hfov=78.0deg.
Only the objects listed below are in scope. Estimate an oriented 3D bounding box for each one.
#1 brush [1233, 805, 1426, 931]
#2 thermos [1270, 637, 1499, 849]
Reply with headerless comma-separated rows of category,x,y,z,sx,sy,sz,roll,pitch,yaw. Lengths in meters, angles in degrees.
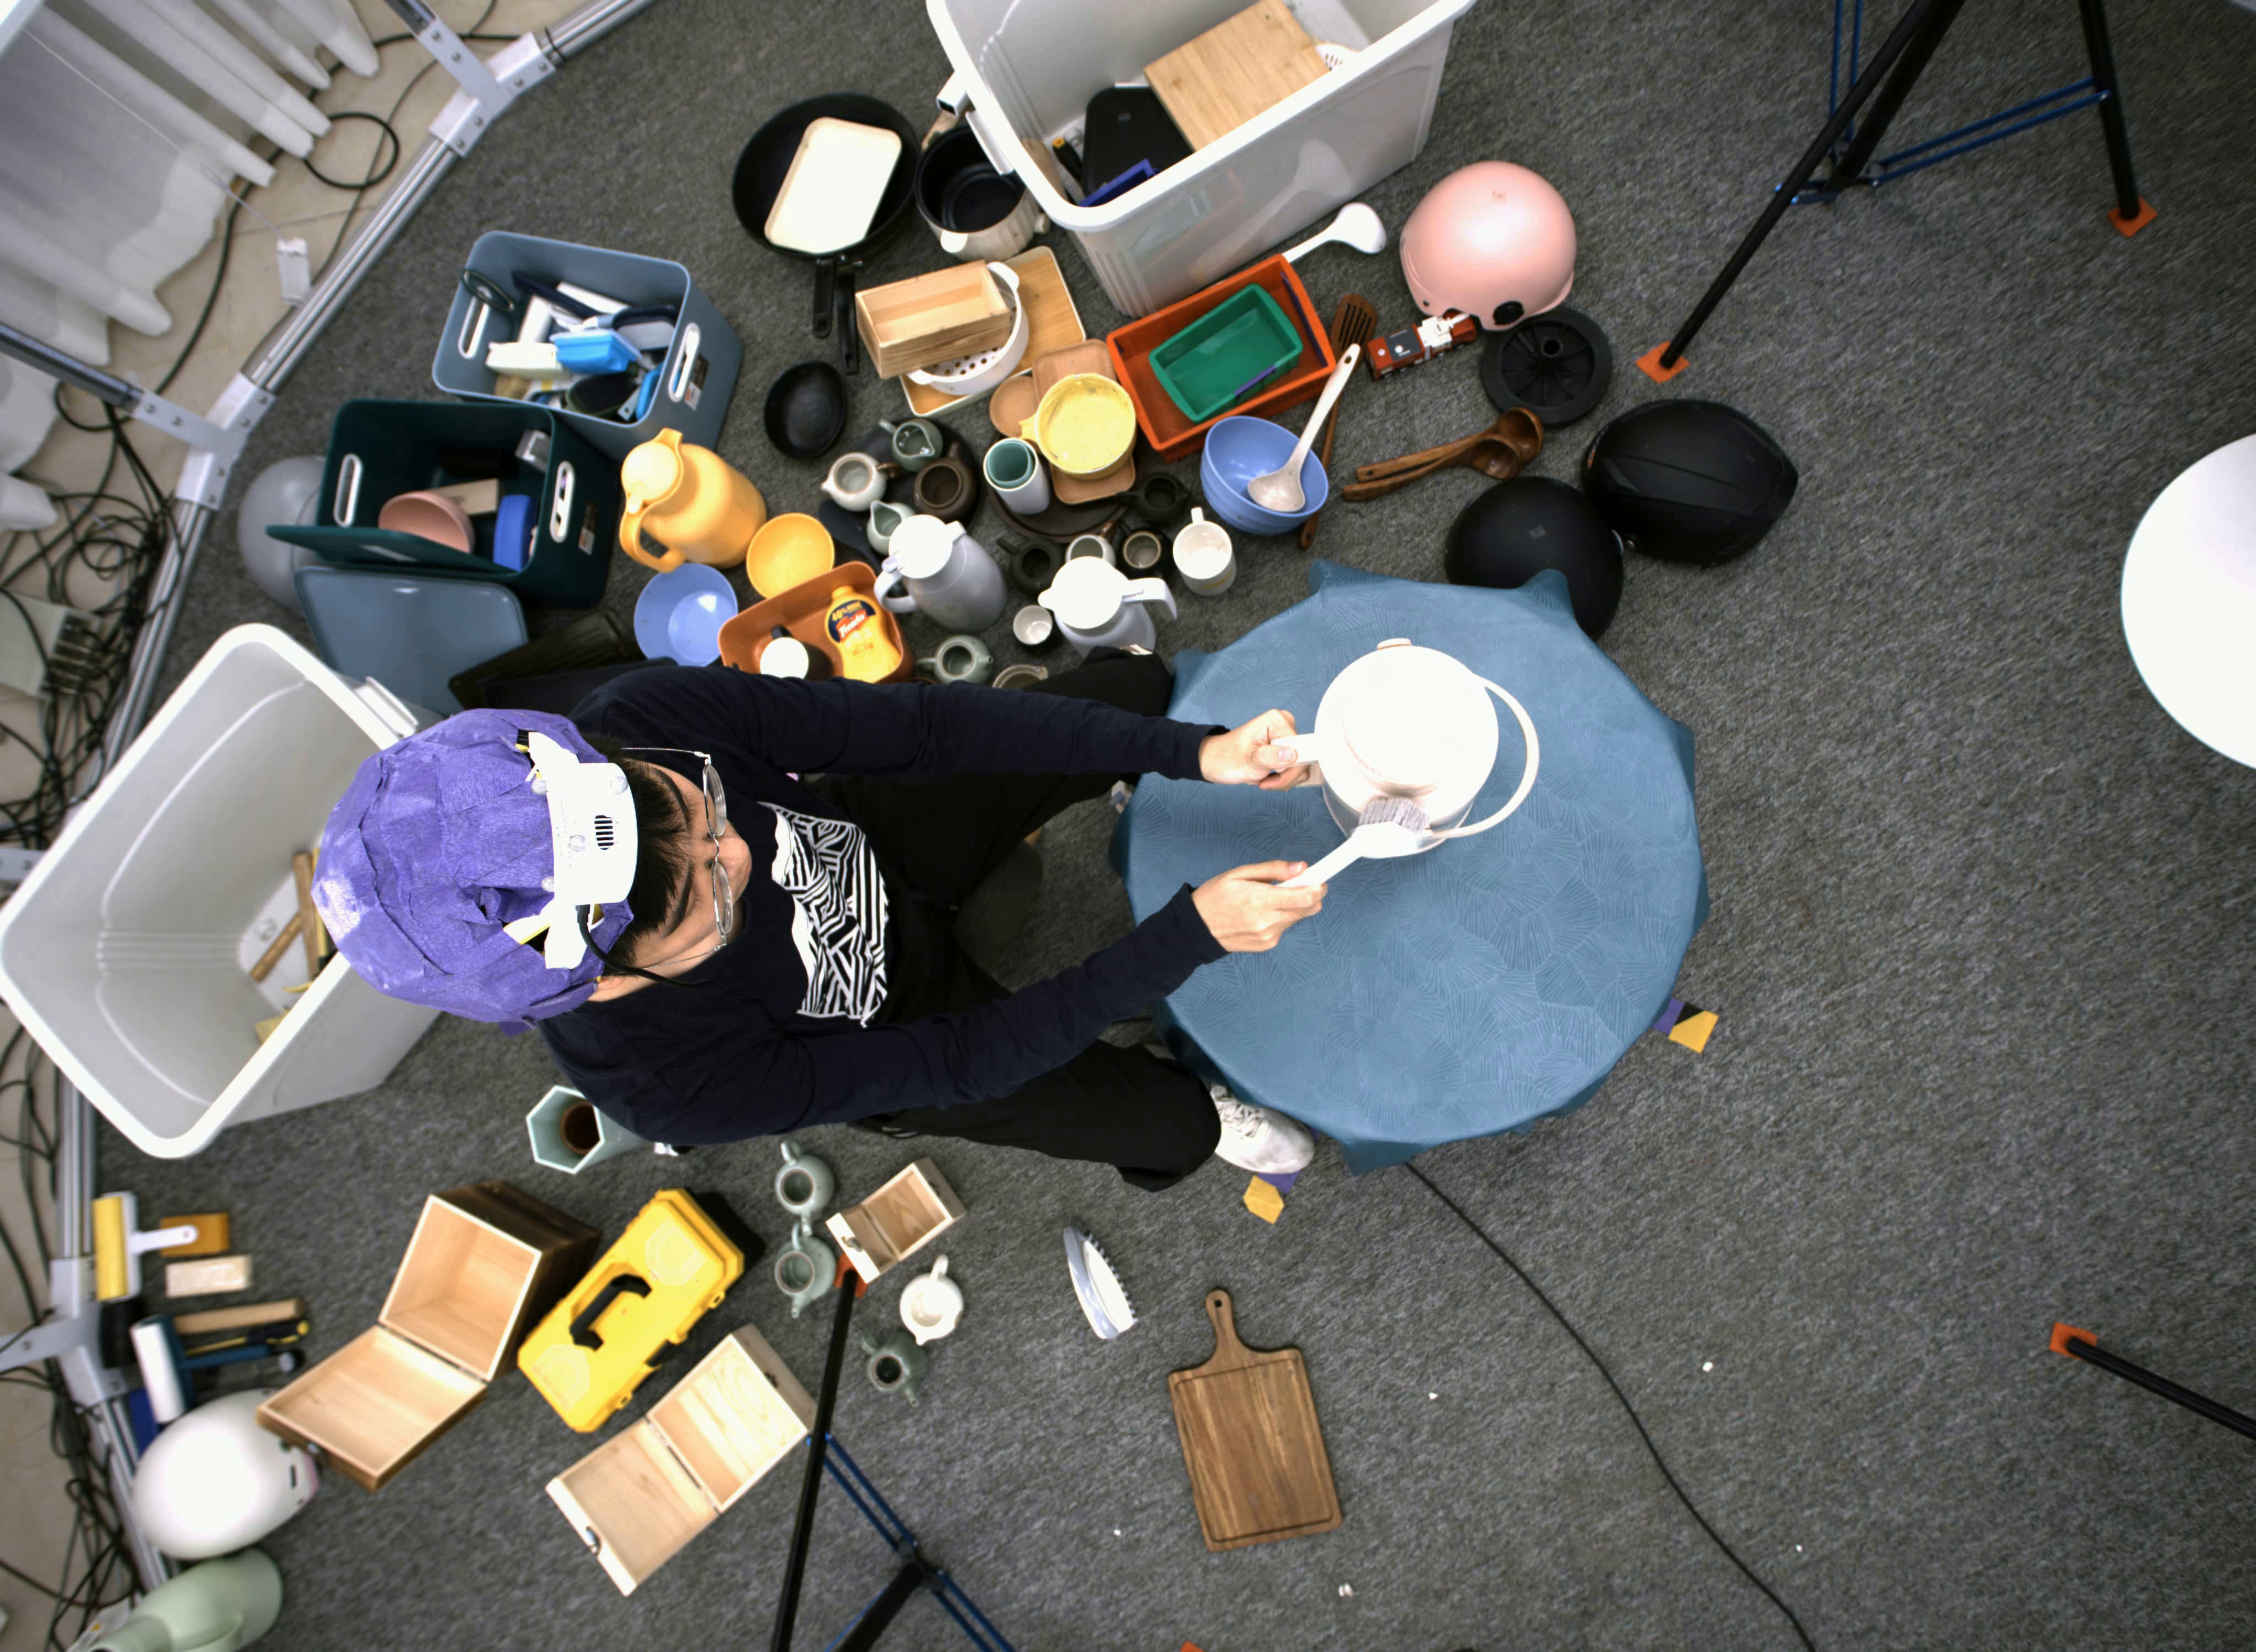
brush,0.169,0.035,1.206,0.034,0.248,0.049,25,59,-21
thermos,0.240,-0.070,1.270,0.208,0.406,0.174,-7,85,9
